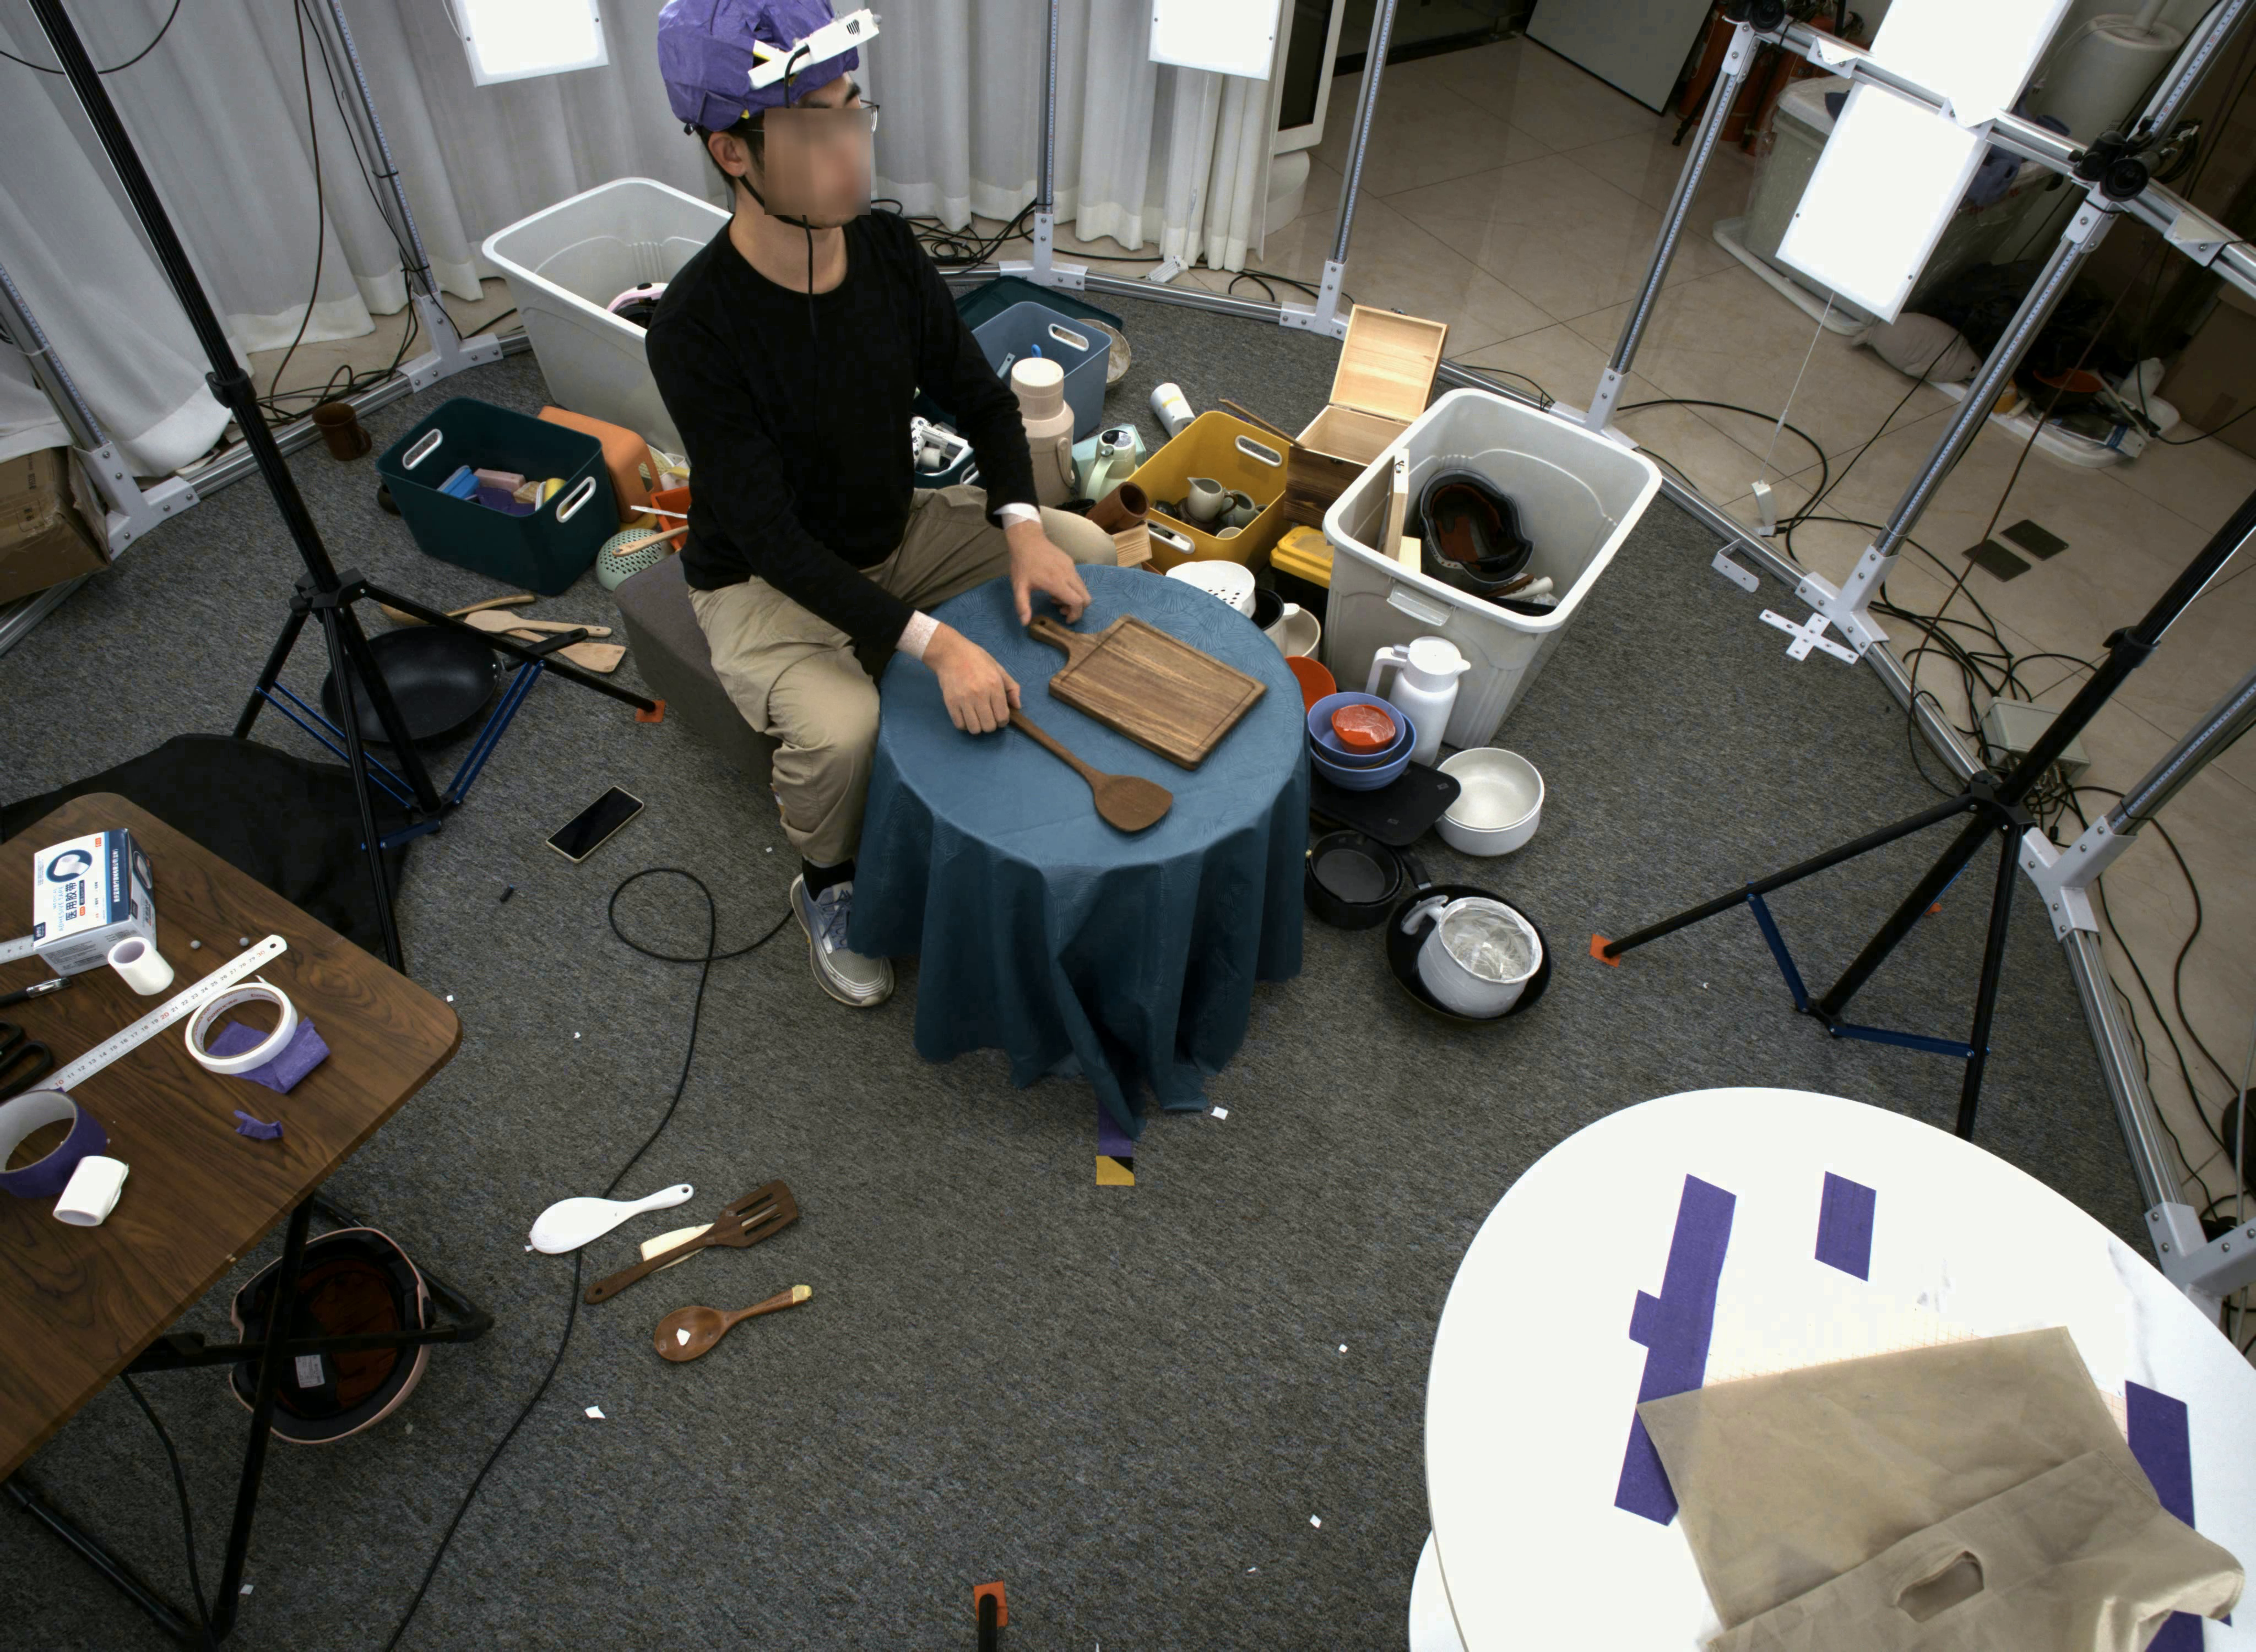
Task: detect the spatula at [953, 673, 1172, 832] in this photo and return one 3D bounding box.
[{"bbox_3d":[-0.104,-0.111,1.750,0.391,0.015,0.097,37,56,25],"label":"spatula"}]

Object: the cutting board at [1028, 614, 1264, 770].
[{"bbox_3d":[0.001,-0.221,1.848,0.356,0.022,0.204,30,53,20],"label":"cutting board"}]
